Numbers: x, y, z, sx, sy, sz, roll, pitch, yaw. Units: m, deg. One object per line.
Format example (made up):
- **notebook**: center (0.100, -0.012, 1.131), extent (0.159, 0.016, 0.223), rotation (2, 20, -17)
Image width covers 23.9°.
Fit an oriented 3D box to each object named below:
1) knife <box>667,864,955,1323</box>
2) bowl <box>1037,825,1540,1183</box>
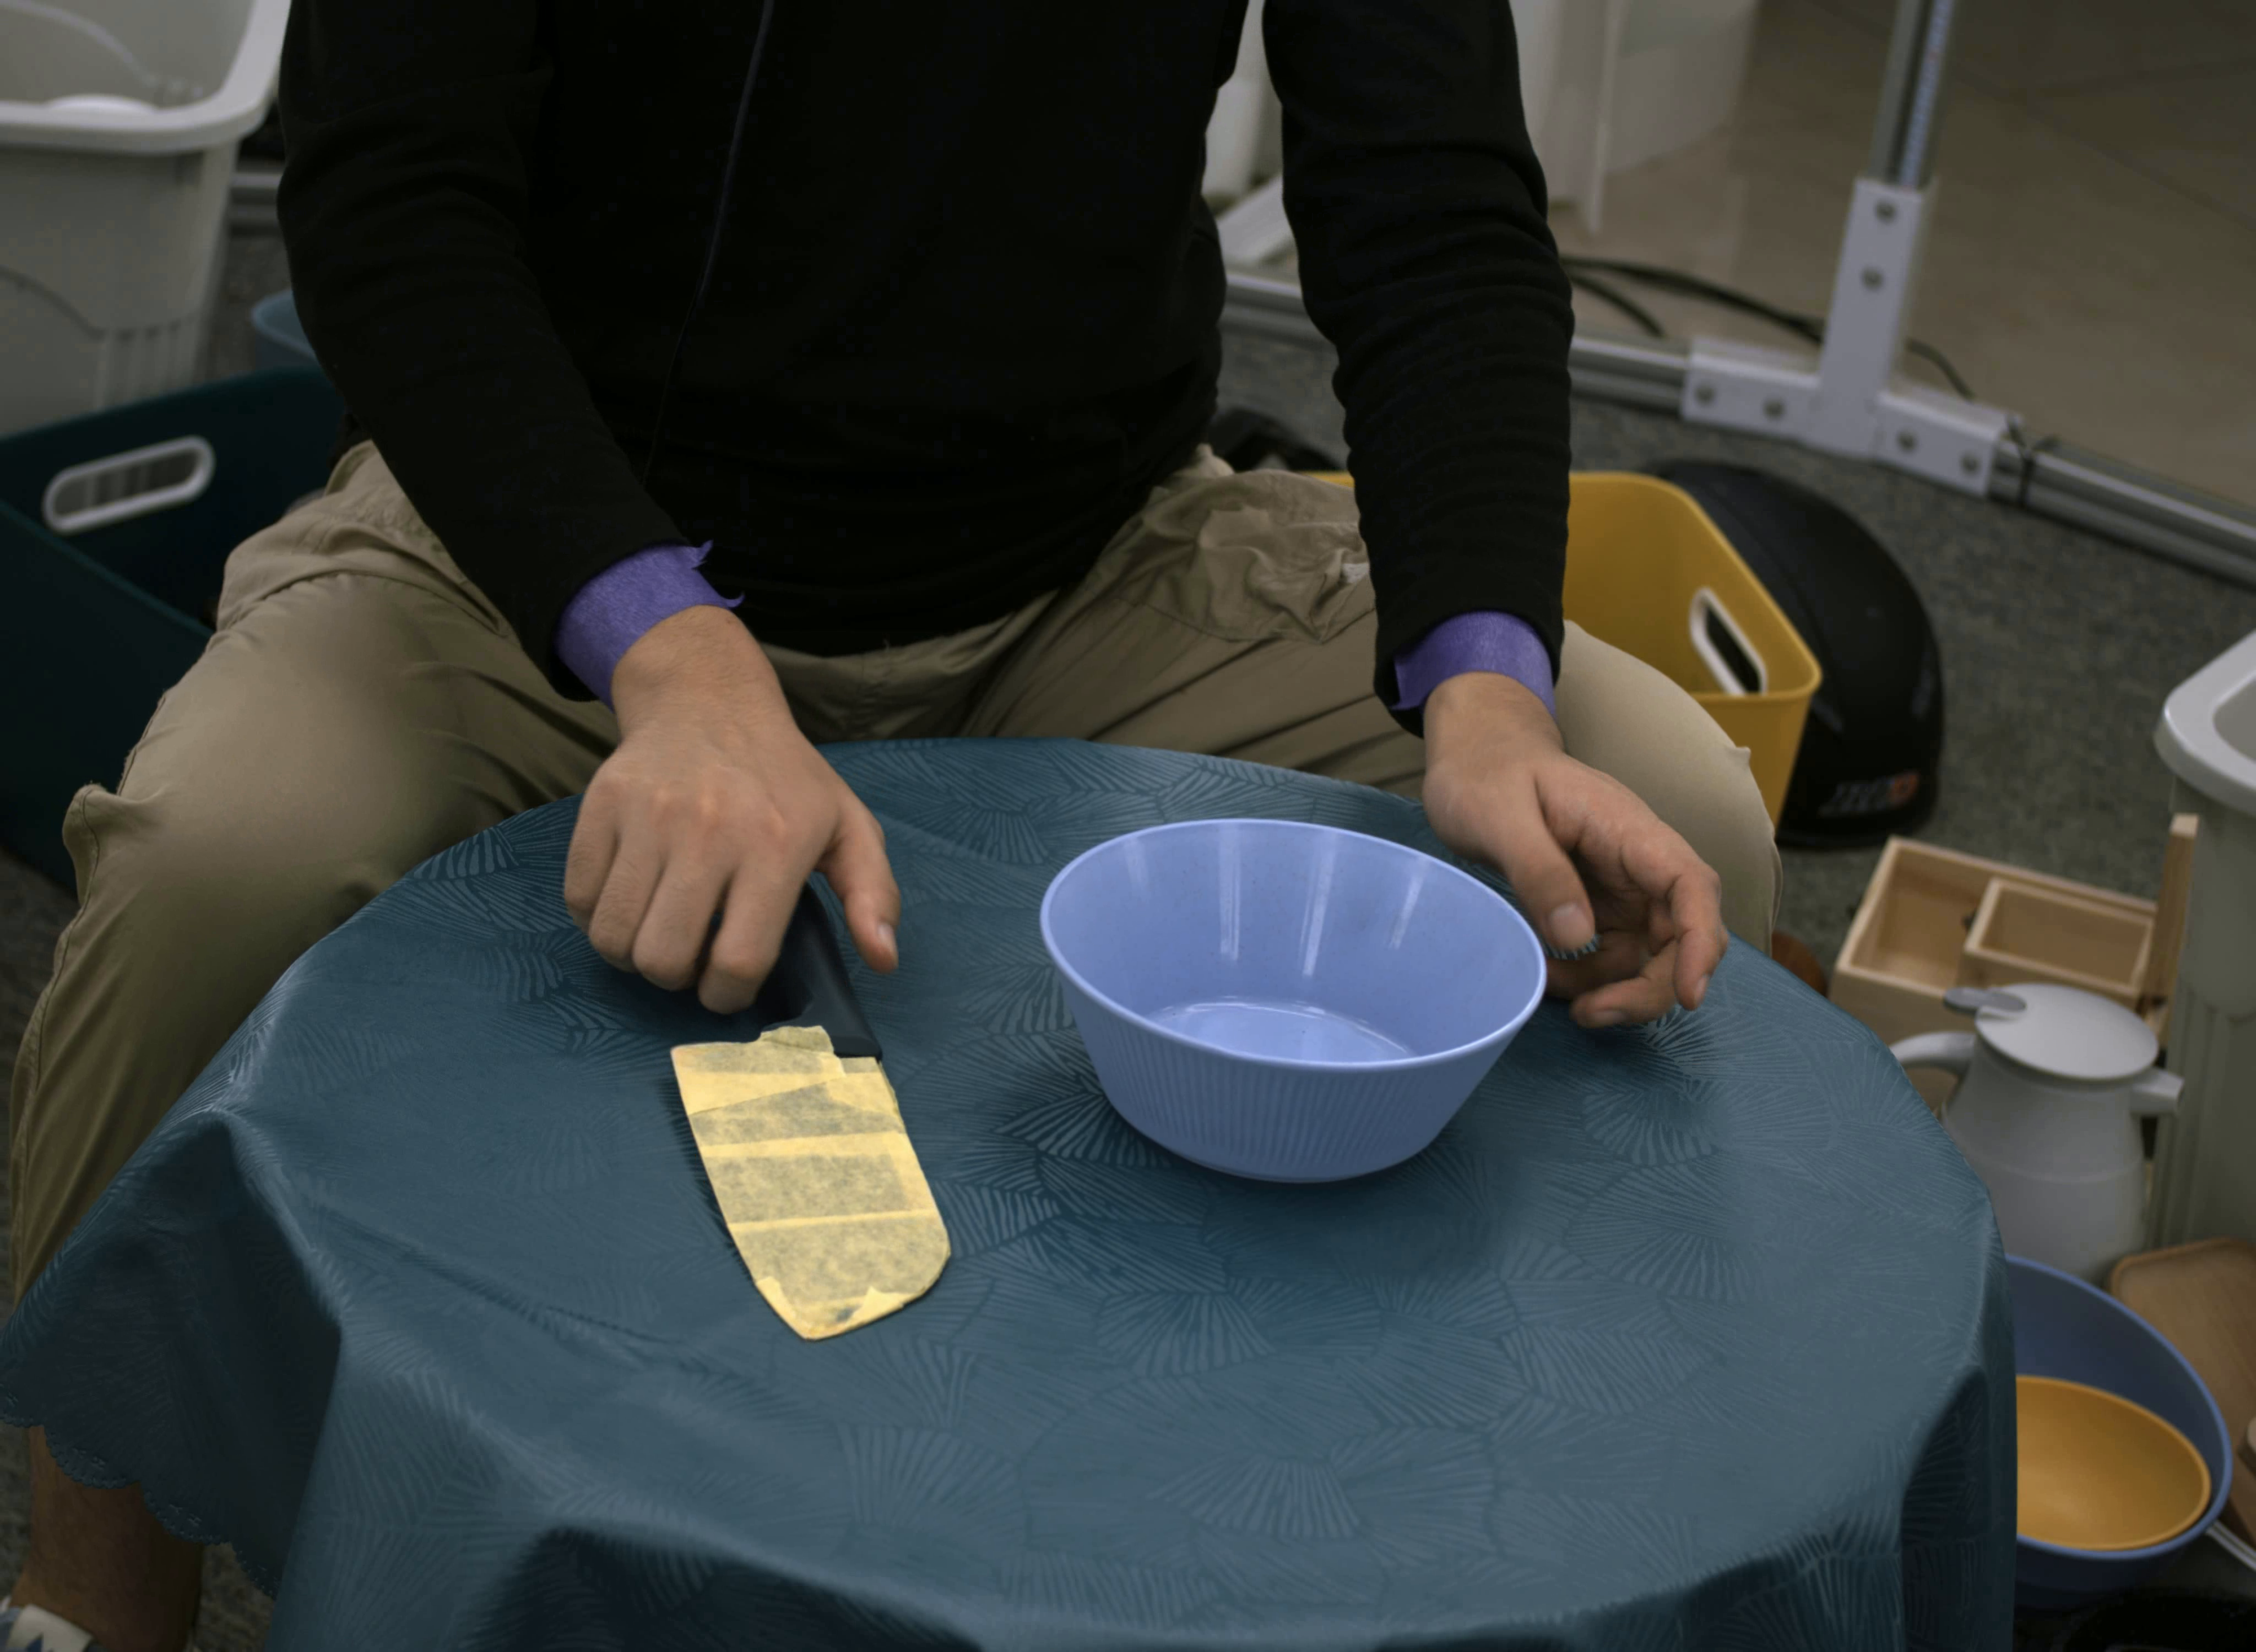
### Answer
- **knife**: center (-0.117, 0.090, 1.830), extent (0.080, 0.027, 0.292), rotation (0, 28, -14)
- **bowl**: center (0.052, 0.068, 1.852), extent (0.175, 0.070, 0.177), rotation (5, 27, -3)
